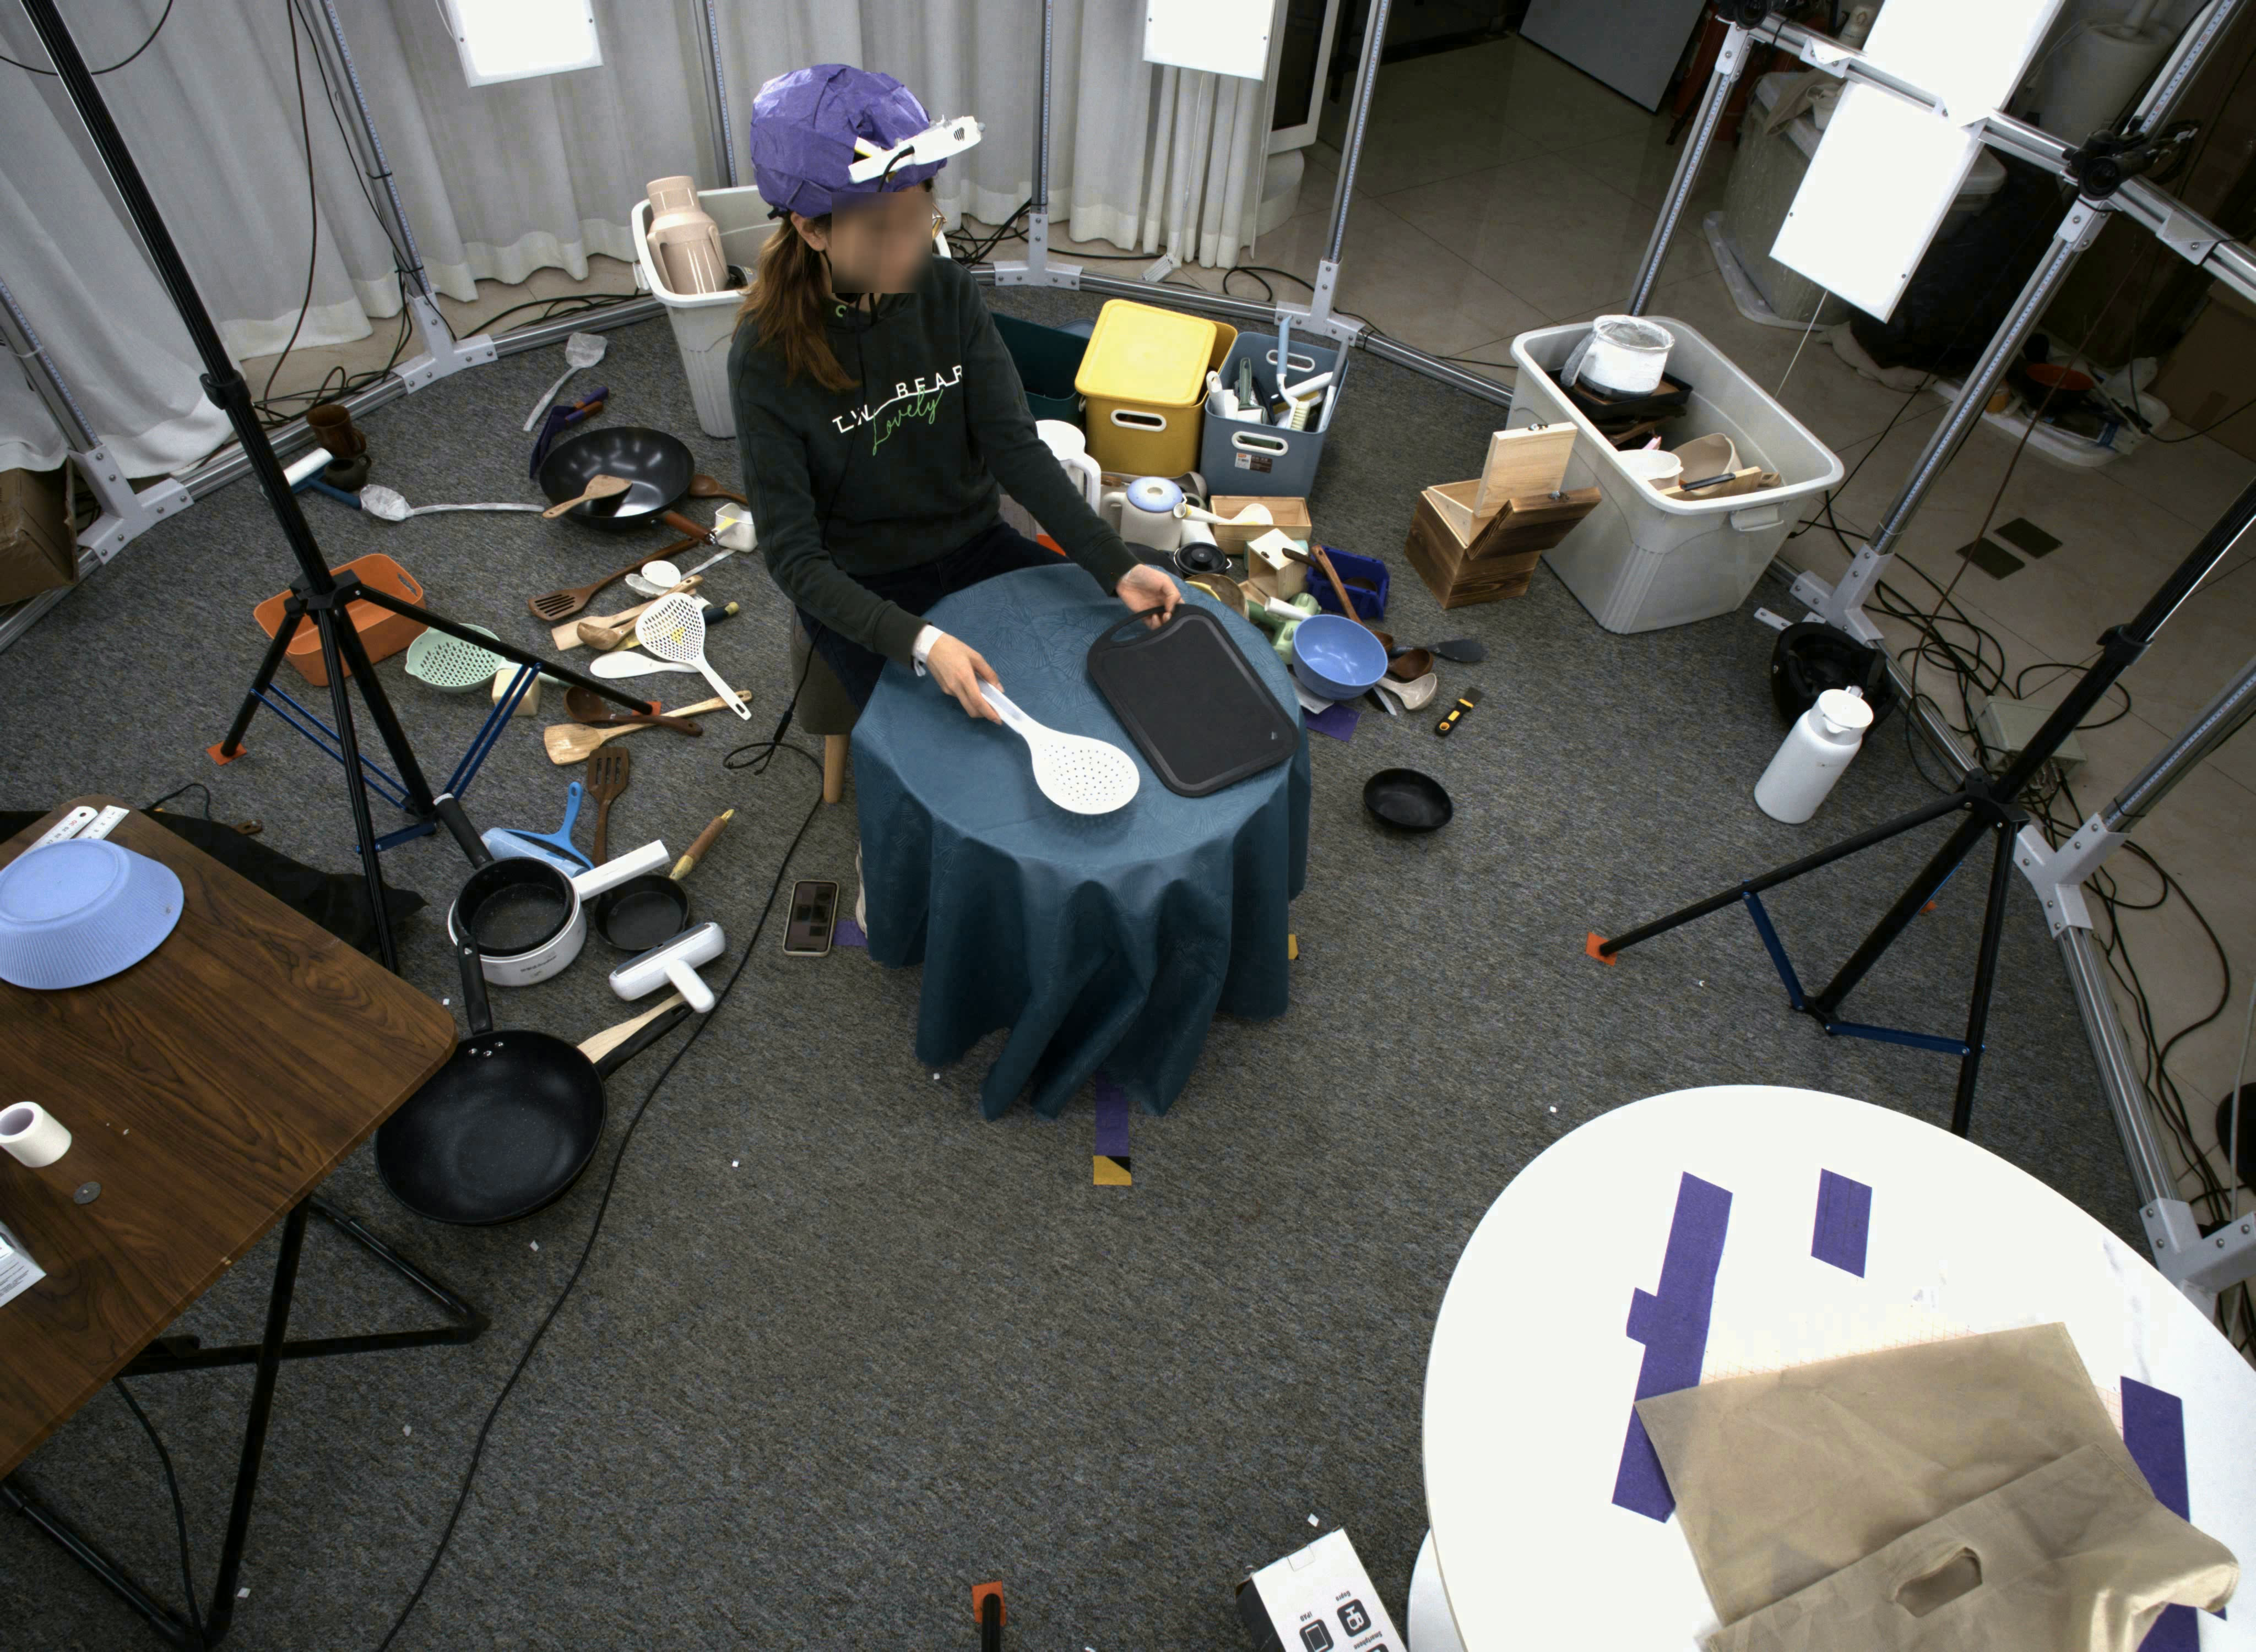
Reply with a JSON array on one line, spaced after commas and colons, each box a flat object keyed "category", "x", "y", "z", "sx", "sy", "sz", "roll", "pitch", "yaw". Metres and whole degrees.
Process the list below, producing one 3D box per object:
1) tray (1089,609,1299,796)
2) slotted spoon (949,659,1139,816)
[{"category": "tray", "x": 0.086, "y": -0.187, "z": 1.822, "sx": 0.211, "sy": 0.009, "sz": 0.332, "roll": -23, "pitch": 58, "yaw": -15}, {"category": "slotted spoon", "x": -0.127, "y": -0.125, "z": 1.739, "sx": 0.137, "sy": 0.045, "sz": 0.355, "roll": -29, "pitch": 61, "yaw": -34}]
